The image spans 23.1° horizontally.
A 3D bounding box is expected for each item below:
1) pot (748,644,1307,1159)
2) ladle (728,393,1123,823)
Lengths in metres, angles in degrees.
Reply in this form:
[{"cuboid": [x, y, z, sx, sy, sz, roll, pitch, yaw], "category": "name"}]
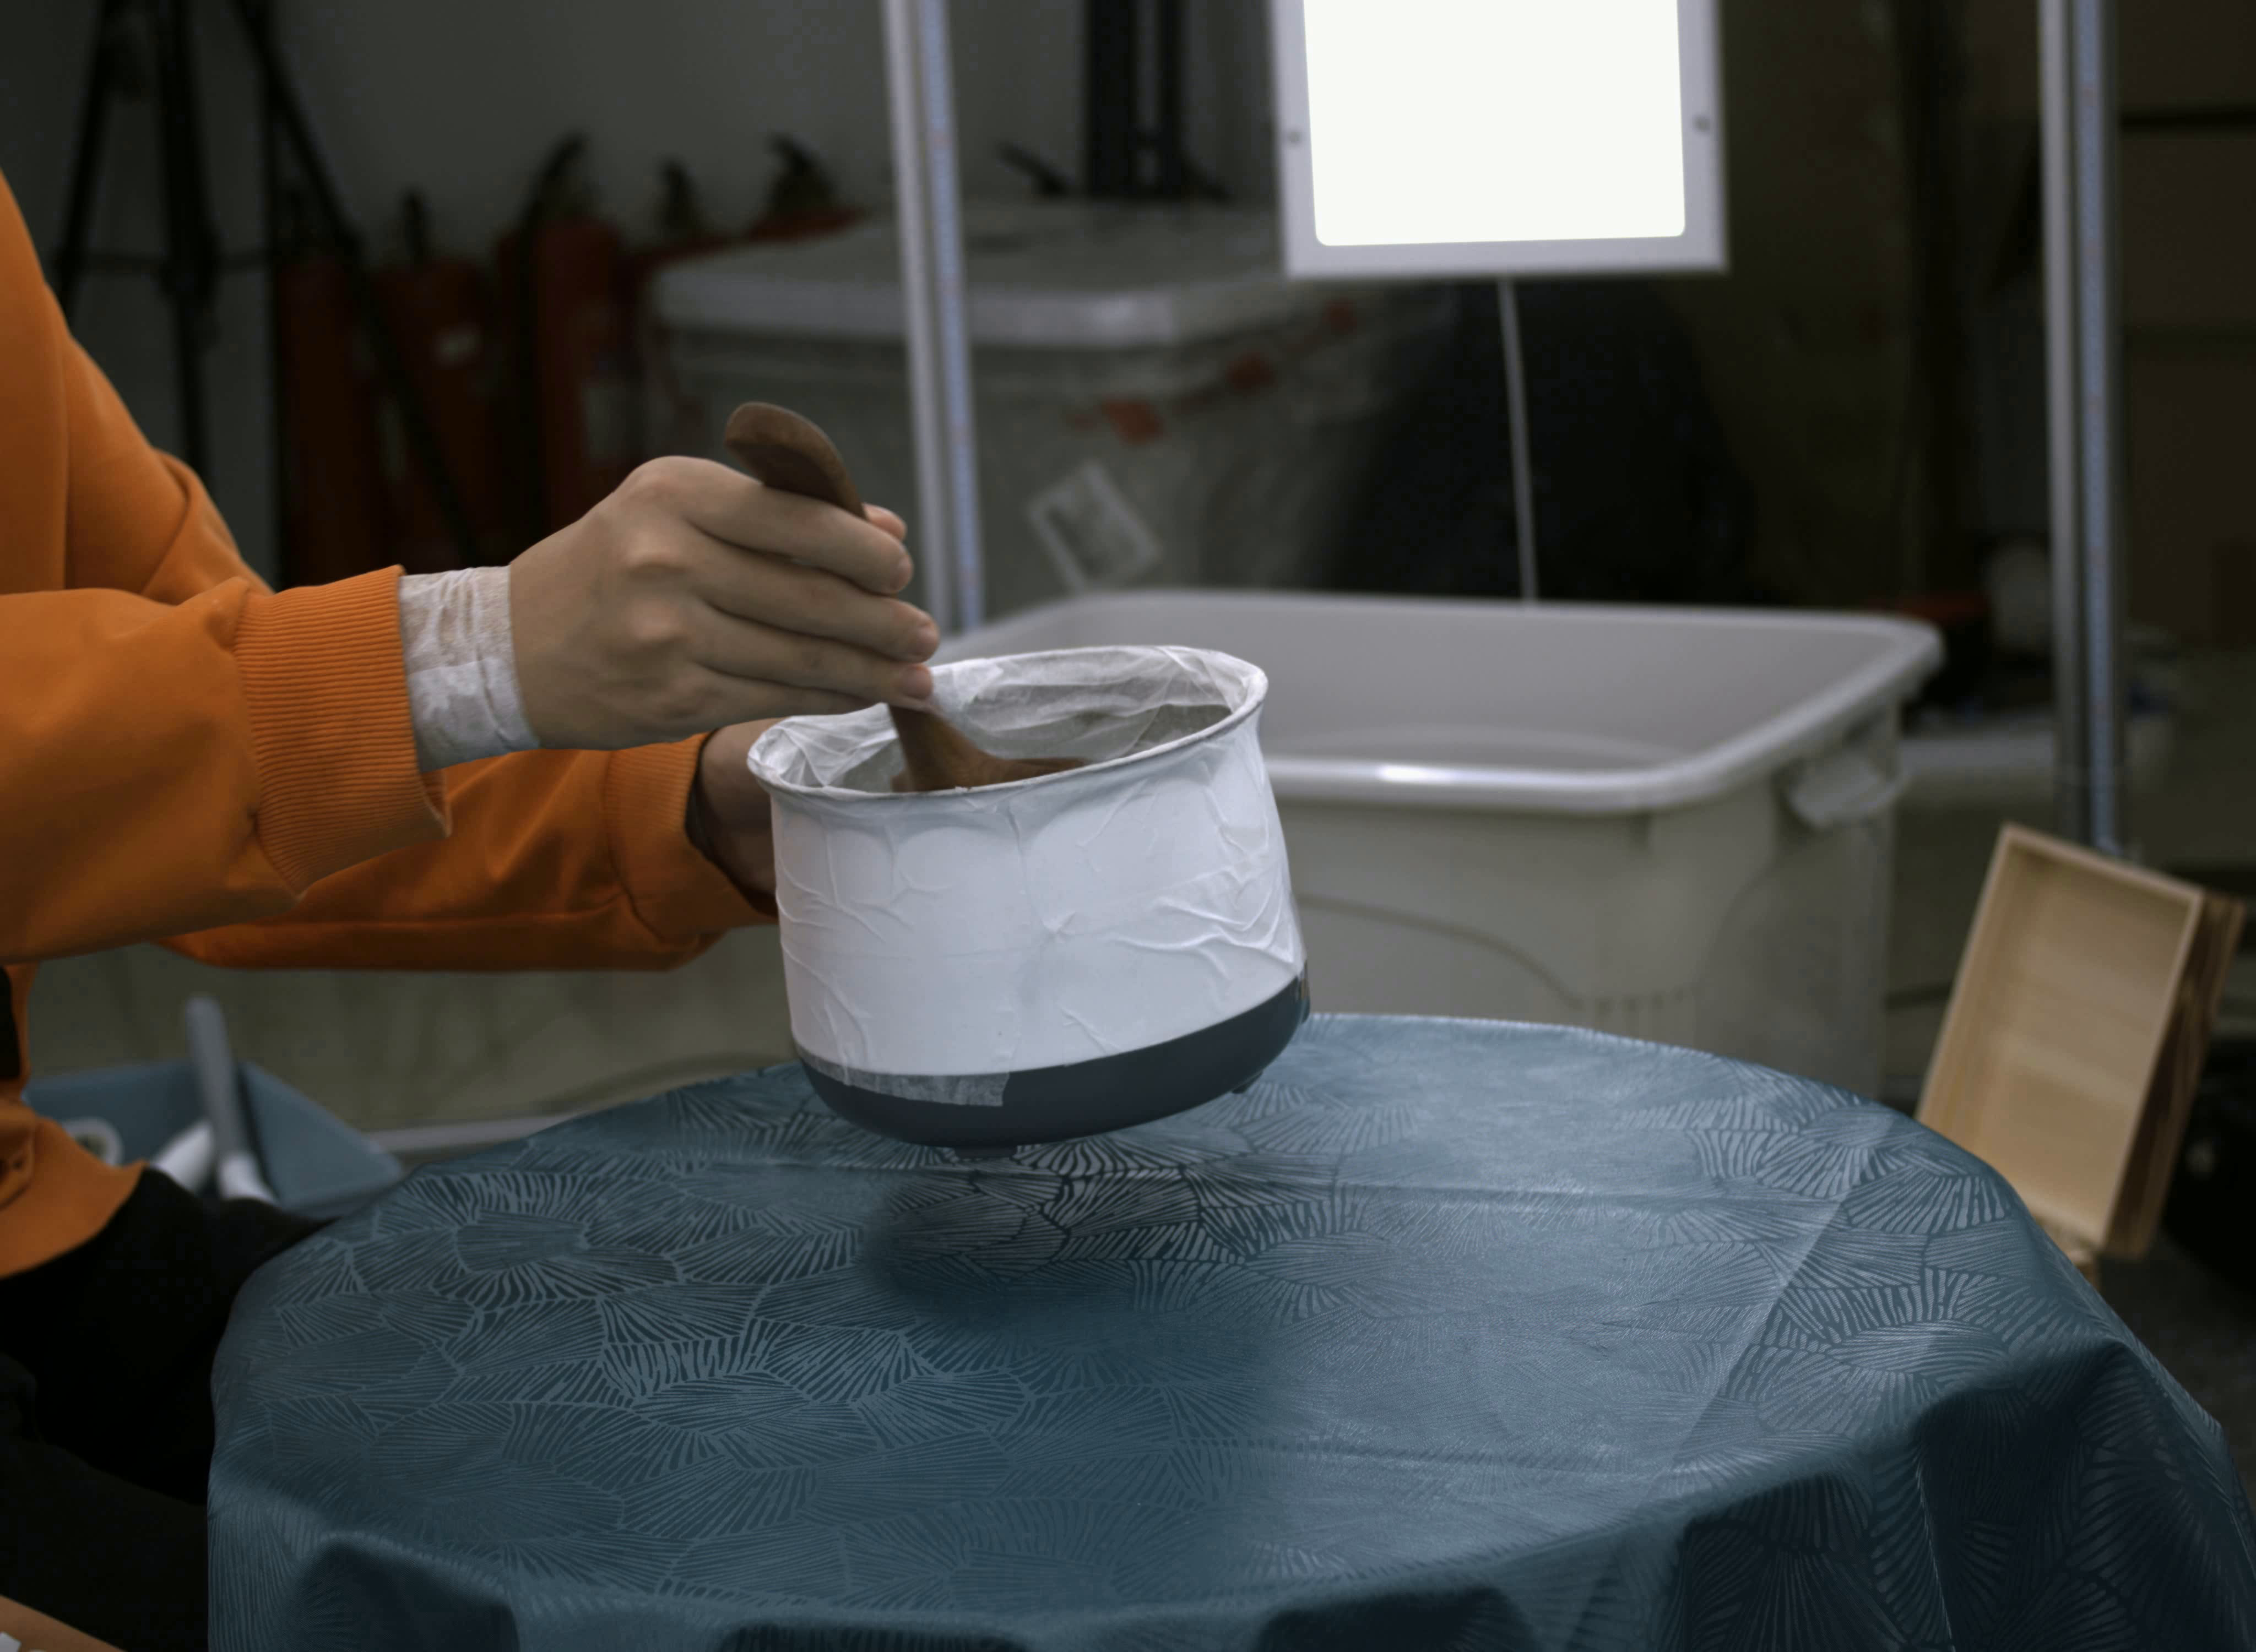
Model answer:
[{"cuboid": [-0.044, 0.019, 1.880, 0.175, 0.137, 0.237, -14, 16, -21], "category": "pot"}, {"cuboid": [-0.069, -0.070, 1.745, 0.077, 0.258, 0.065, -7, 51, 18], "category": "ladle"}]
